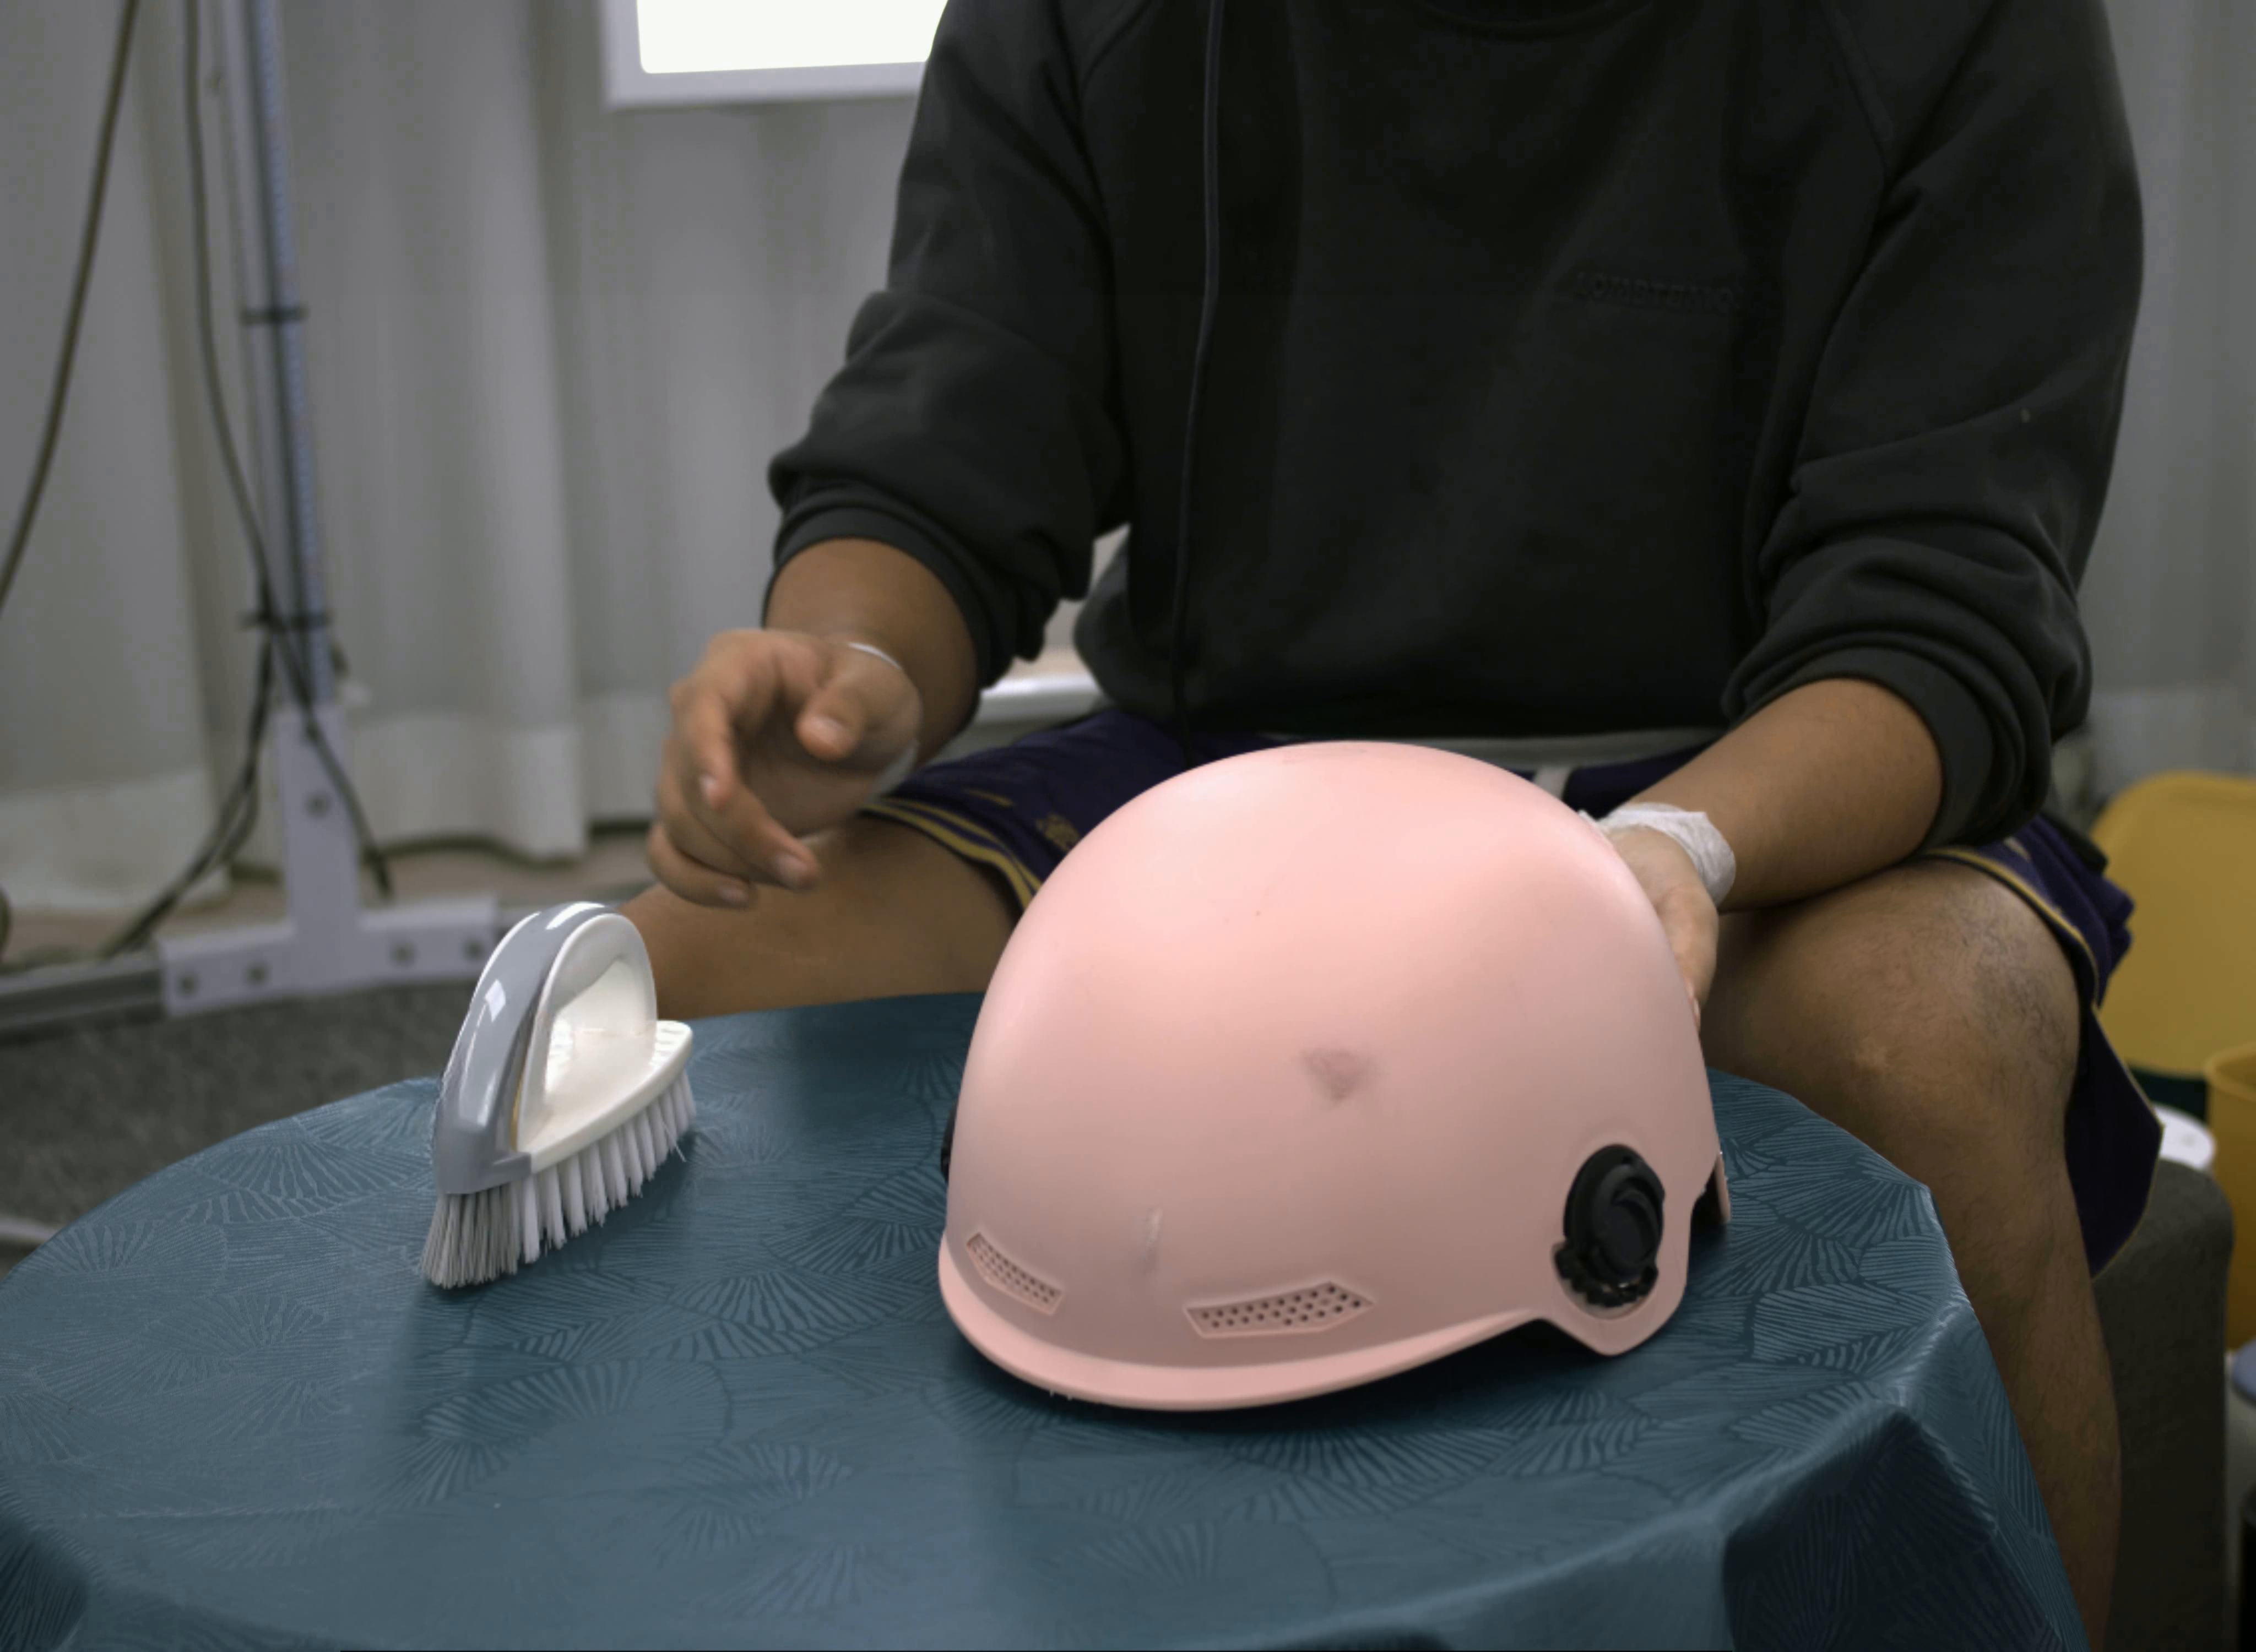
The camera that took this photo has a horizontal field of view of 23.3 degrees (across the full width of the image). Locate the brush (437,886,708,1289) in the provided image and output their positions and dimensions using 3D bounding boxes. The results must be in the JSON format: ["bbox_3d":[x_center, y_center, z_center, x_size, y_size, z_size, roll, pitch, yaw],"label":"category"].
[{"bbox_3d":[-0.183,0.076,1.720,0.061,0.094,0.176,0,17,14],"label":"brush"}]

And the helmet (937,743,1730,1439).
[{"bbox_3d":[0.056,0.063,1.608,0.234,0.158,0.266,6,21,29],"label":"helmet"}]
